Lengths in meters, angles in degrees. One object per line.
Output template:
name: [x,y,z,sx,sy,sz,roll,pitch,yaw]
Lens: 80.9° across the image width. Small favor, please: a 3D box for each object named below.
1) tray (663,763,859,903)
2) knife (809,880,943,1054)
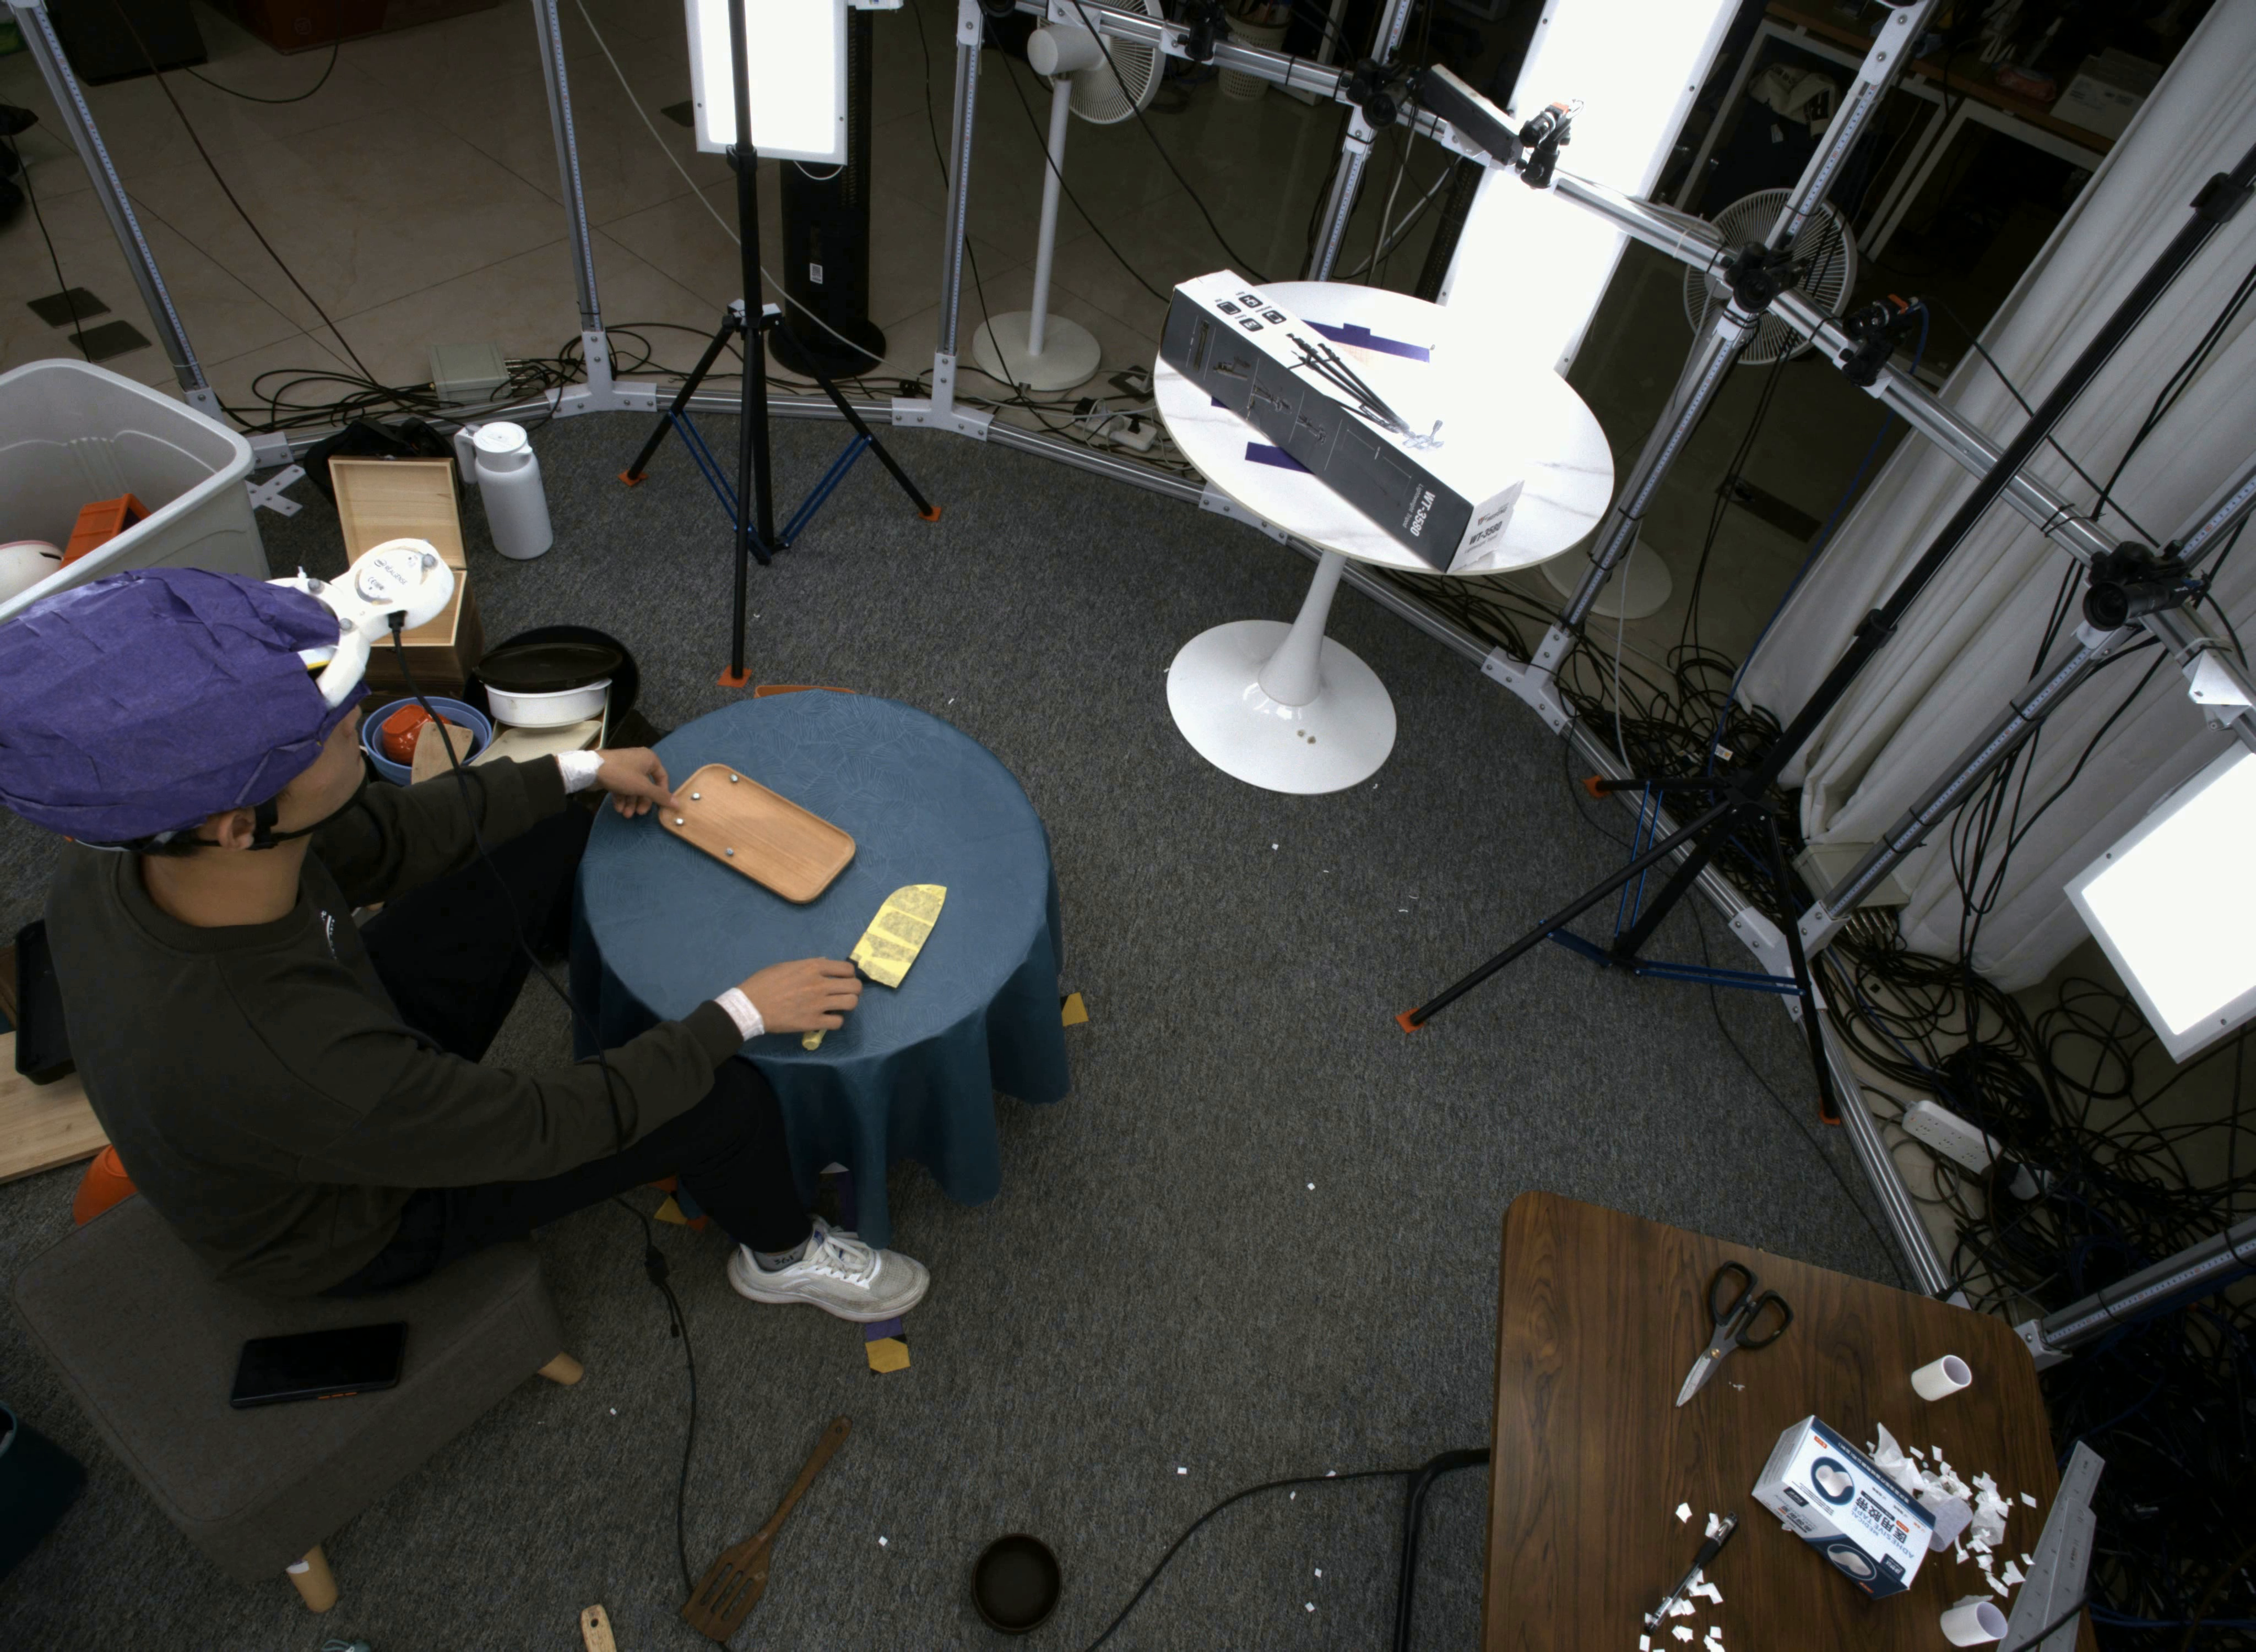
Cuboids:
tray: [-0.483,0.007,1.704,0.247,0.023,0.130,29,55,7]
knife: [-0.312,0.169,1.629,0.080,0.028,0.287,24,51,6]
